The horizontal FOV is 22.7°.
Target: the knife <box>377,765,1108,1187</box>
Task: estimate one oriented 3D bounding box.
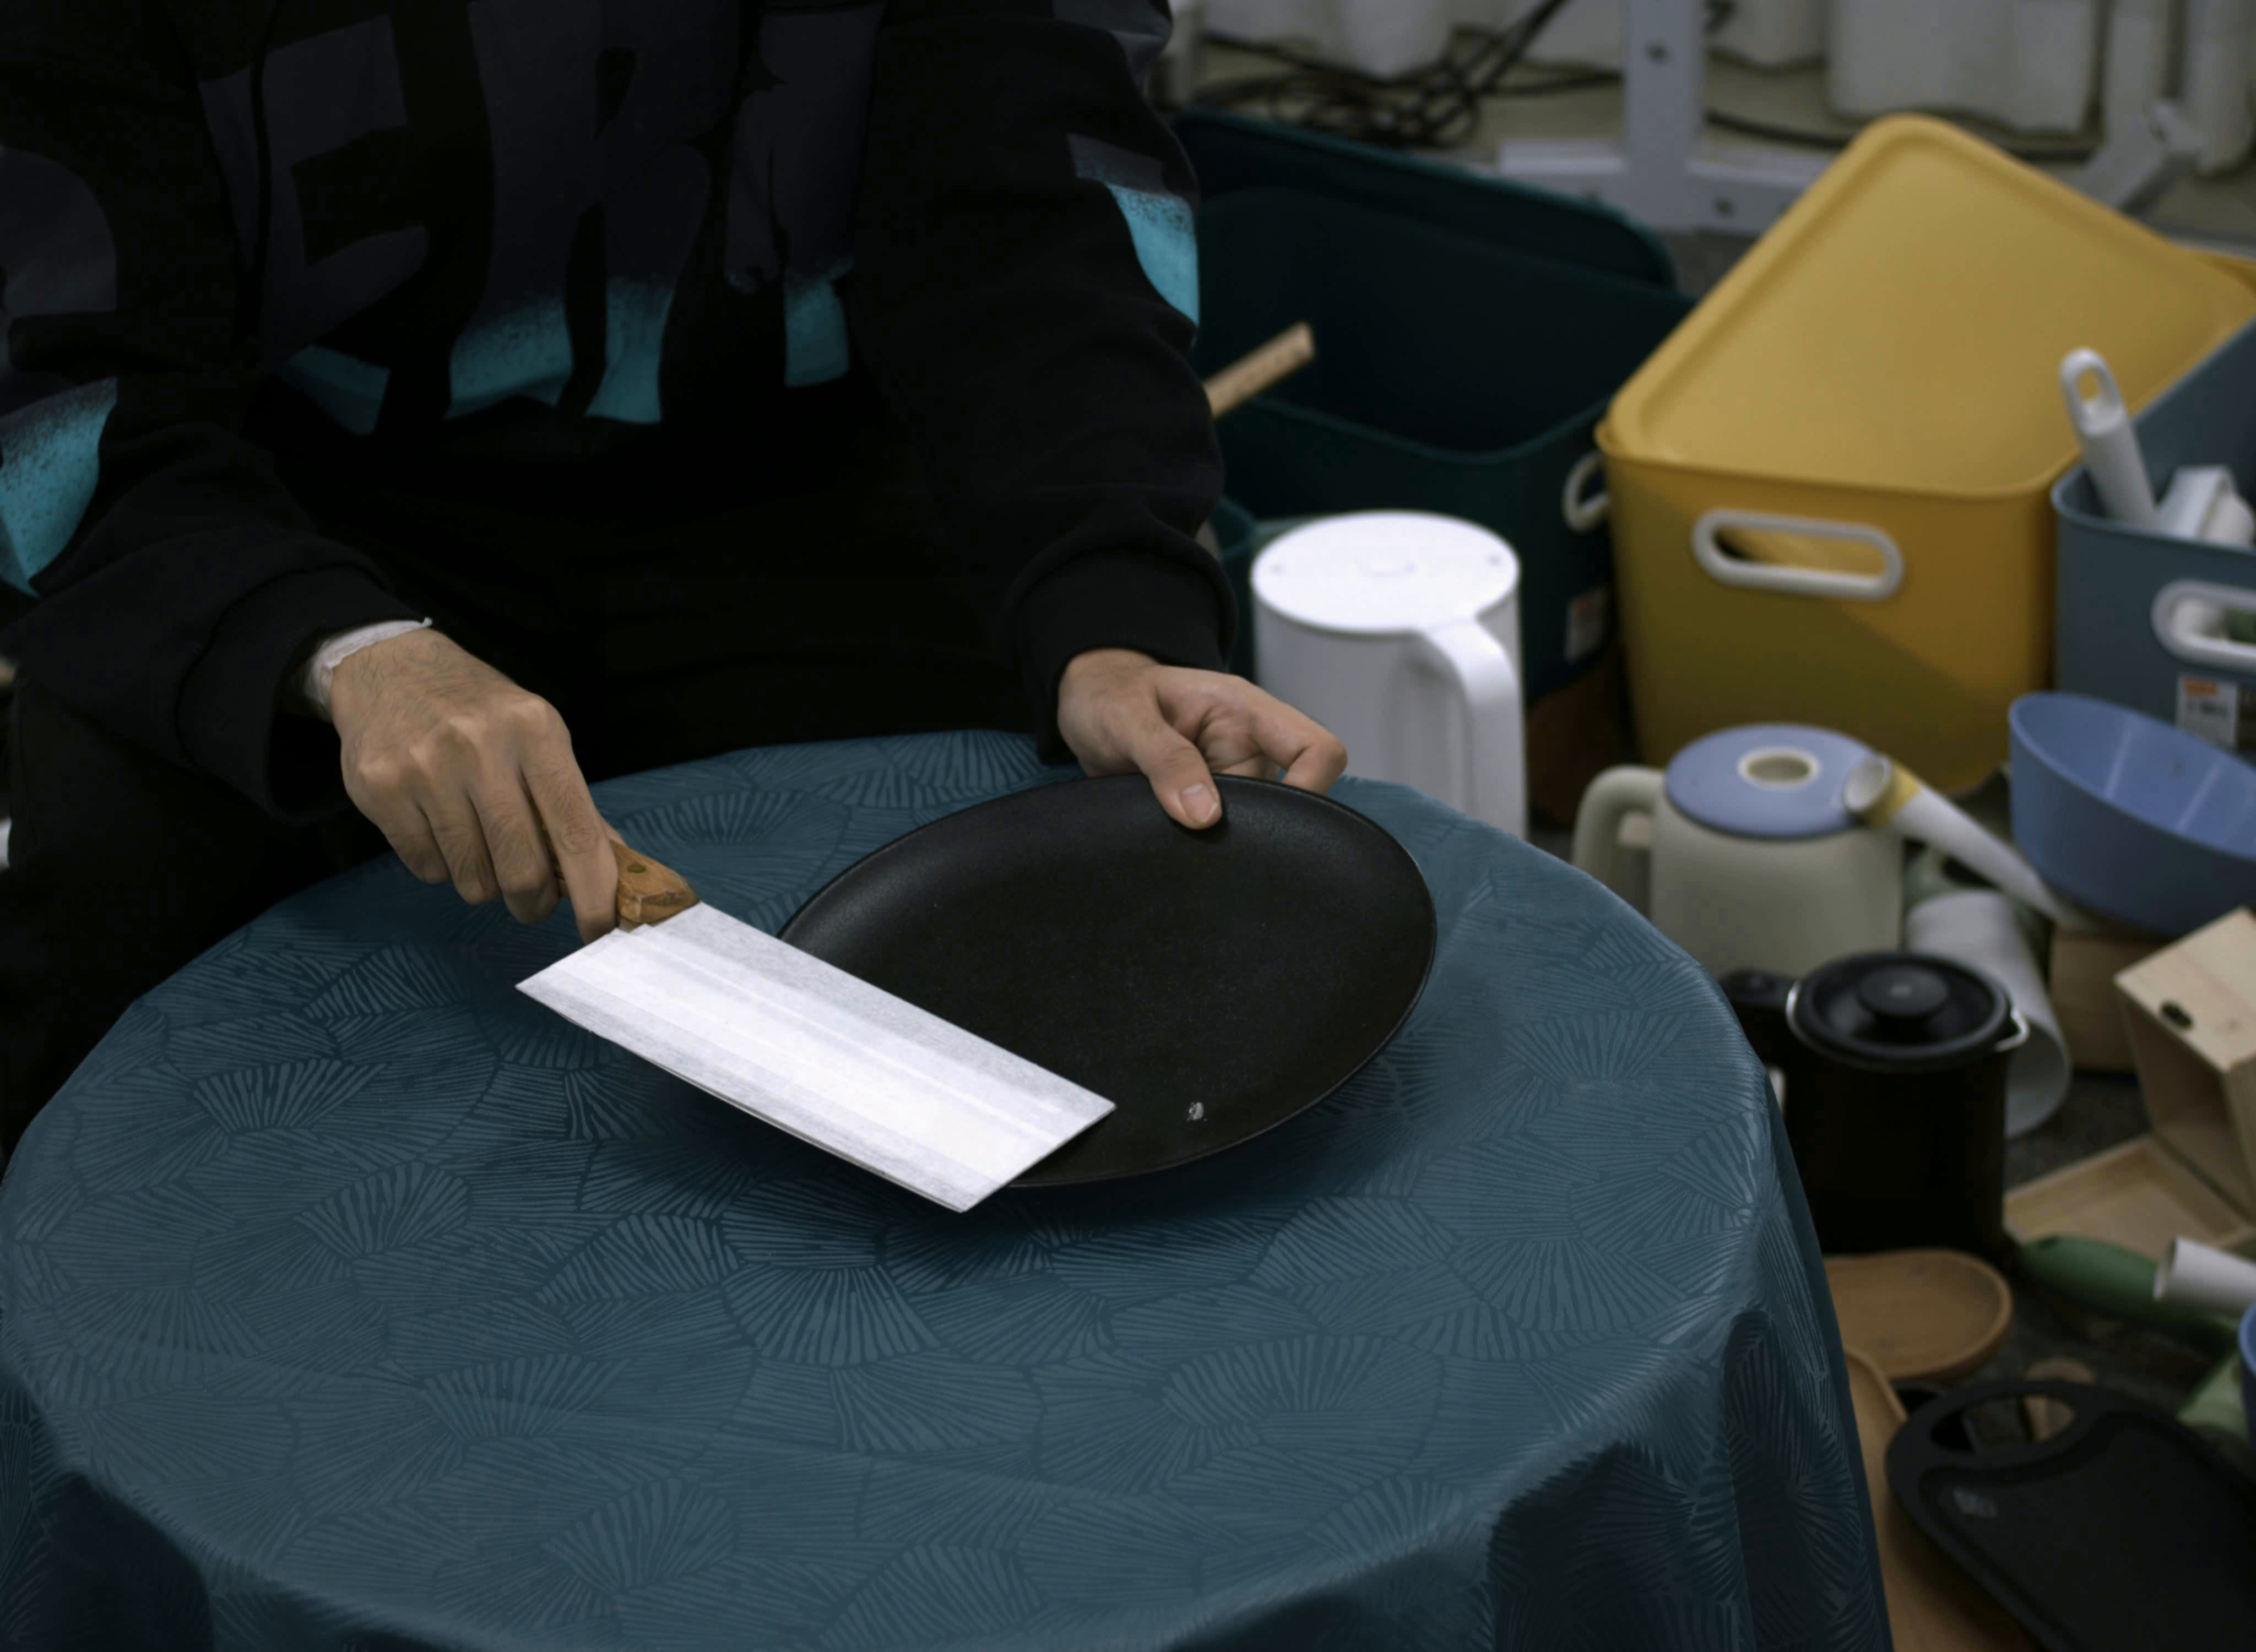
[{"bbox_3d":[-0.150,0.053,1.915,0.305,0.021,0.094,24,34,27],"label":"knife"}]

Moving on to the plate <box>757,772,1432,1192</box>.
[{"bbox_3d":[-0.014,0.058,1.935,0.243,0.023,0.248,-8,32,5],"label":"plate"}]
